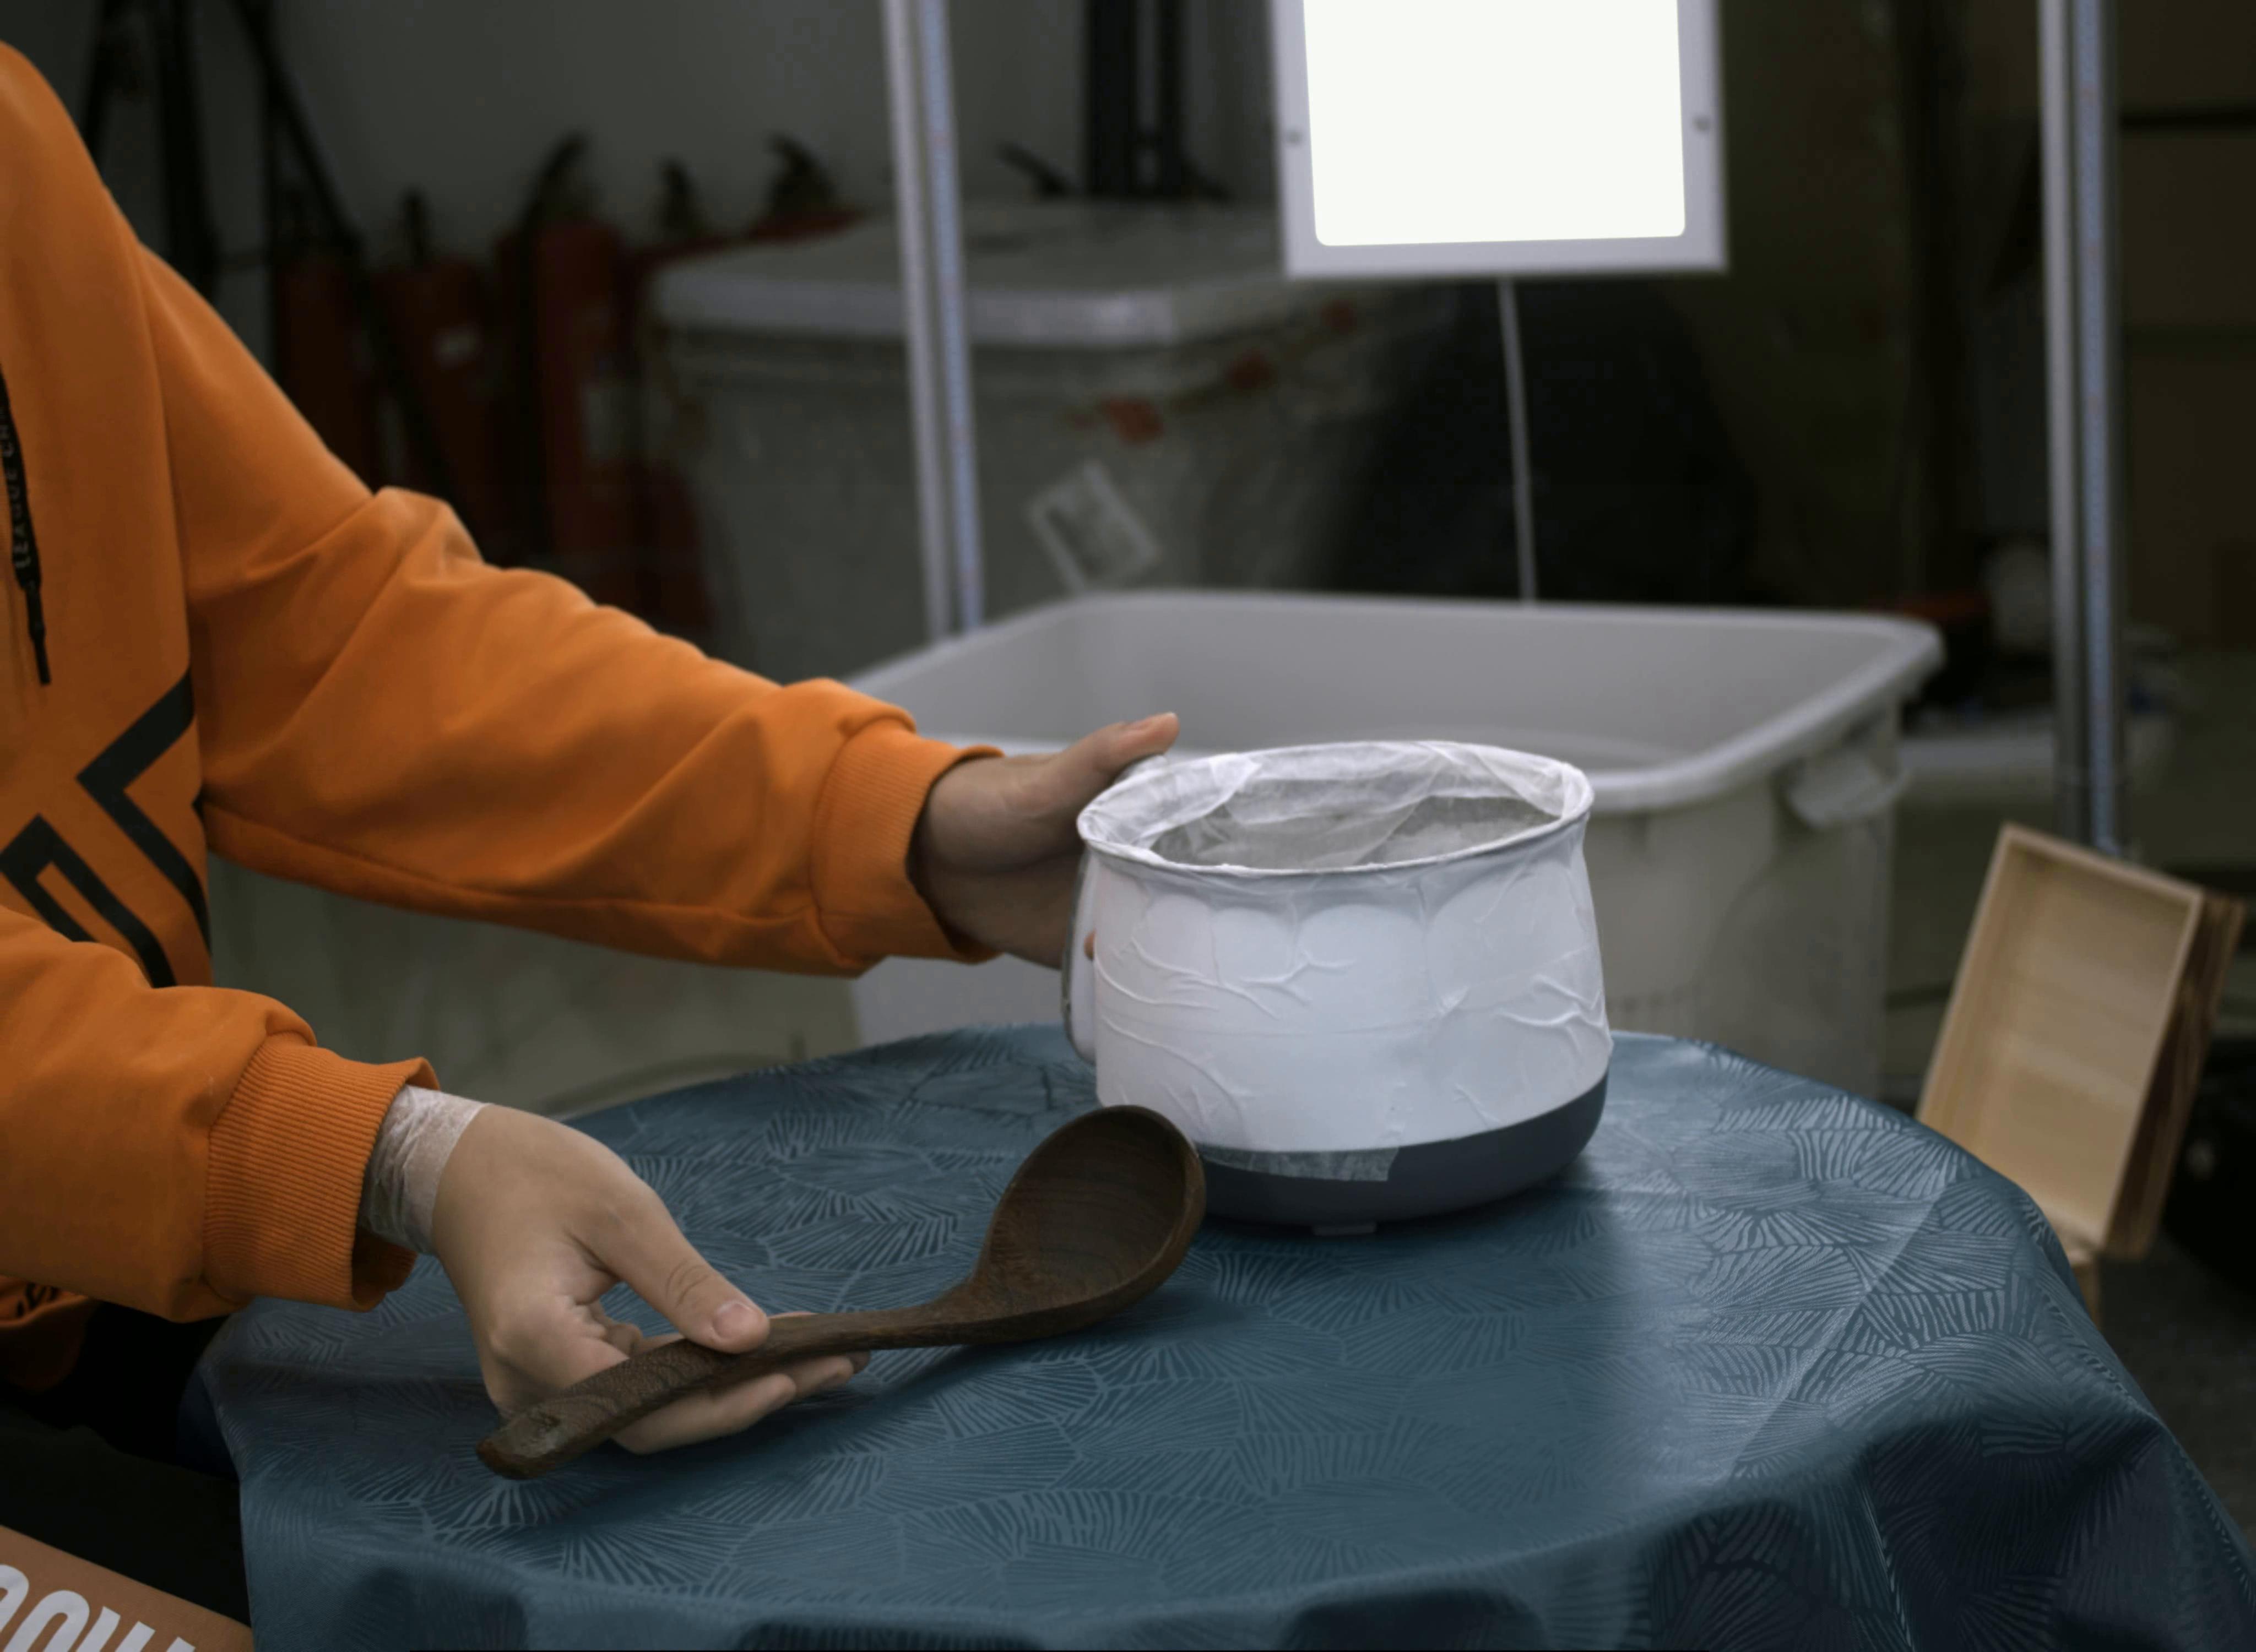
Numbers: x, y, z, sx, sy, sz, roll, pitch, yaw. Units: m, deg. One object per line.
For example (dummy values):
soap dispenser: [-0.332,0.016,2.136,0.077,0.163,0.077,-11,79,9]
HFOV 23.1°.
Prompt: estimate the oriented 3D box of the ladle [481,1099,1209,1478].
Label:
ladle: [-0.086,0.139,1.704,0.267,0.072,0.077,-10,17,-41]

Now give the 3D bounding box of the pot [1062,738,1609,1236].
pot: [0.057,0.049,1.901,0.174,0.137,0.238,-15,17,-37]
